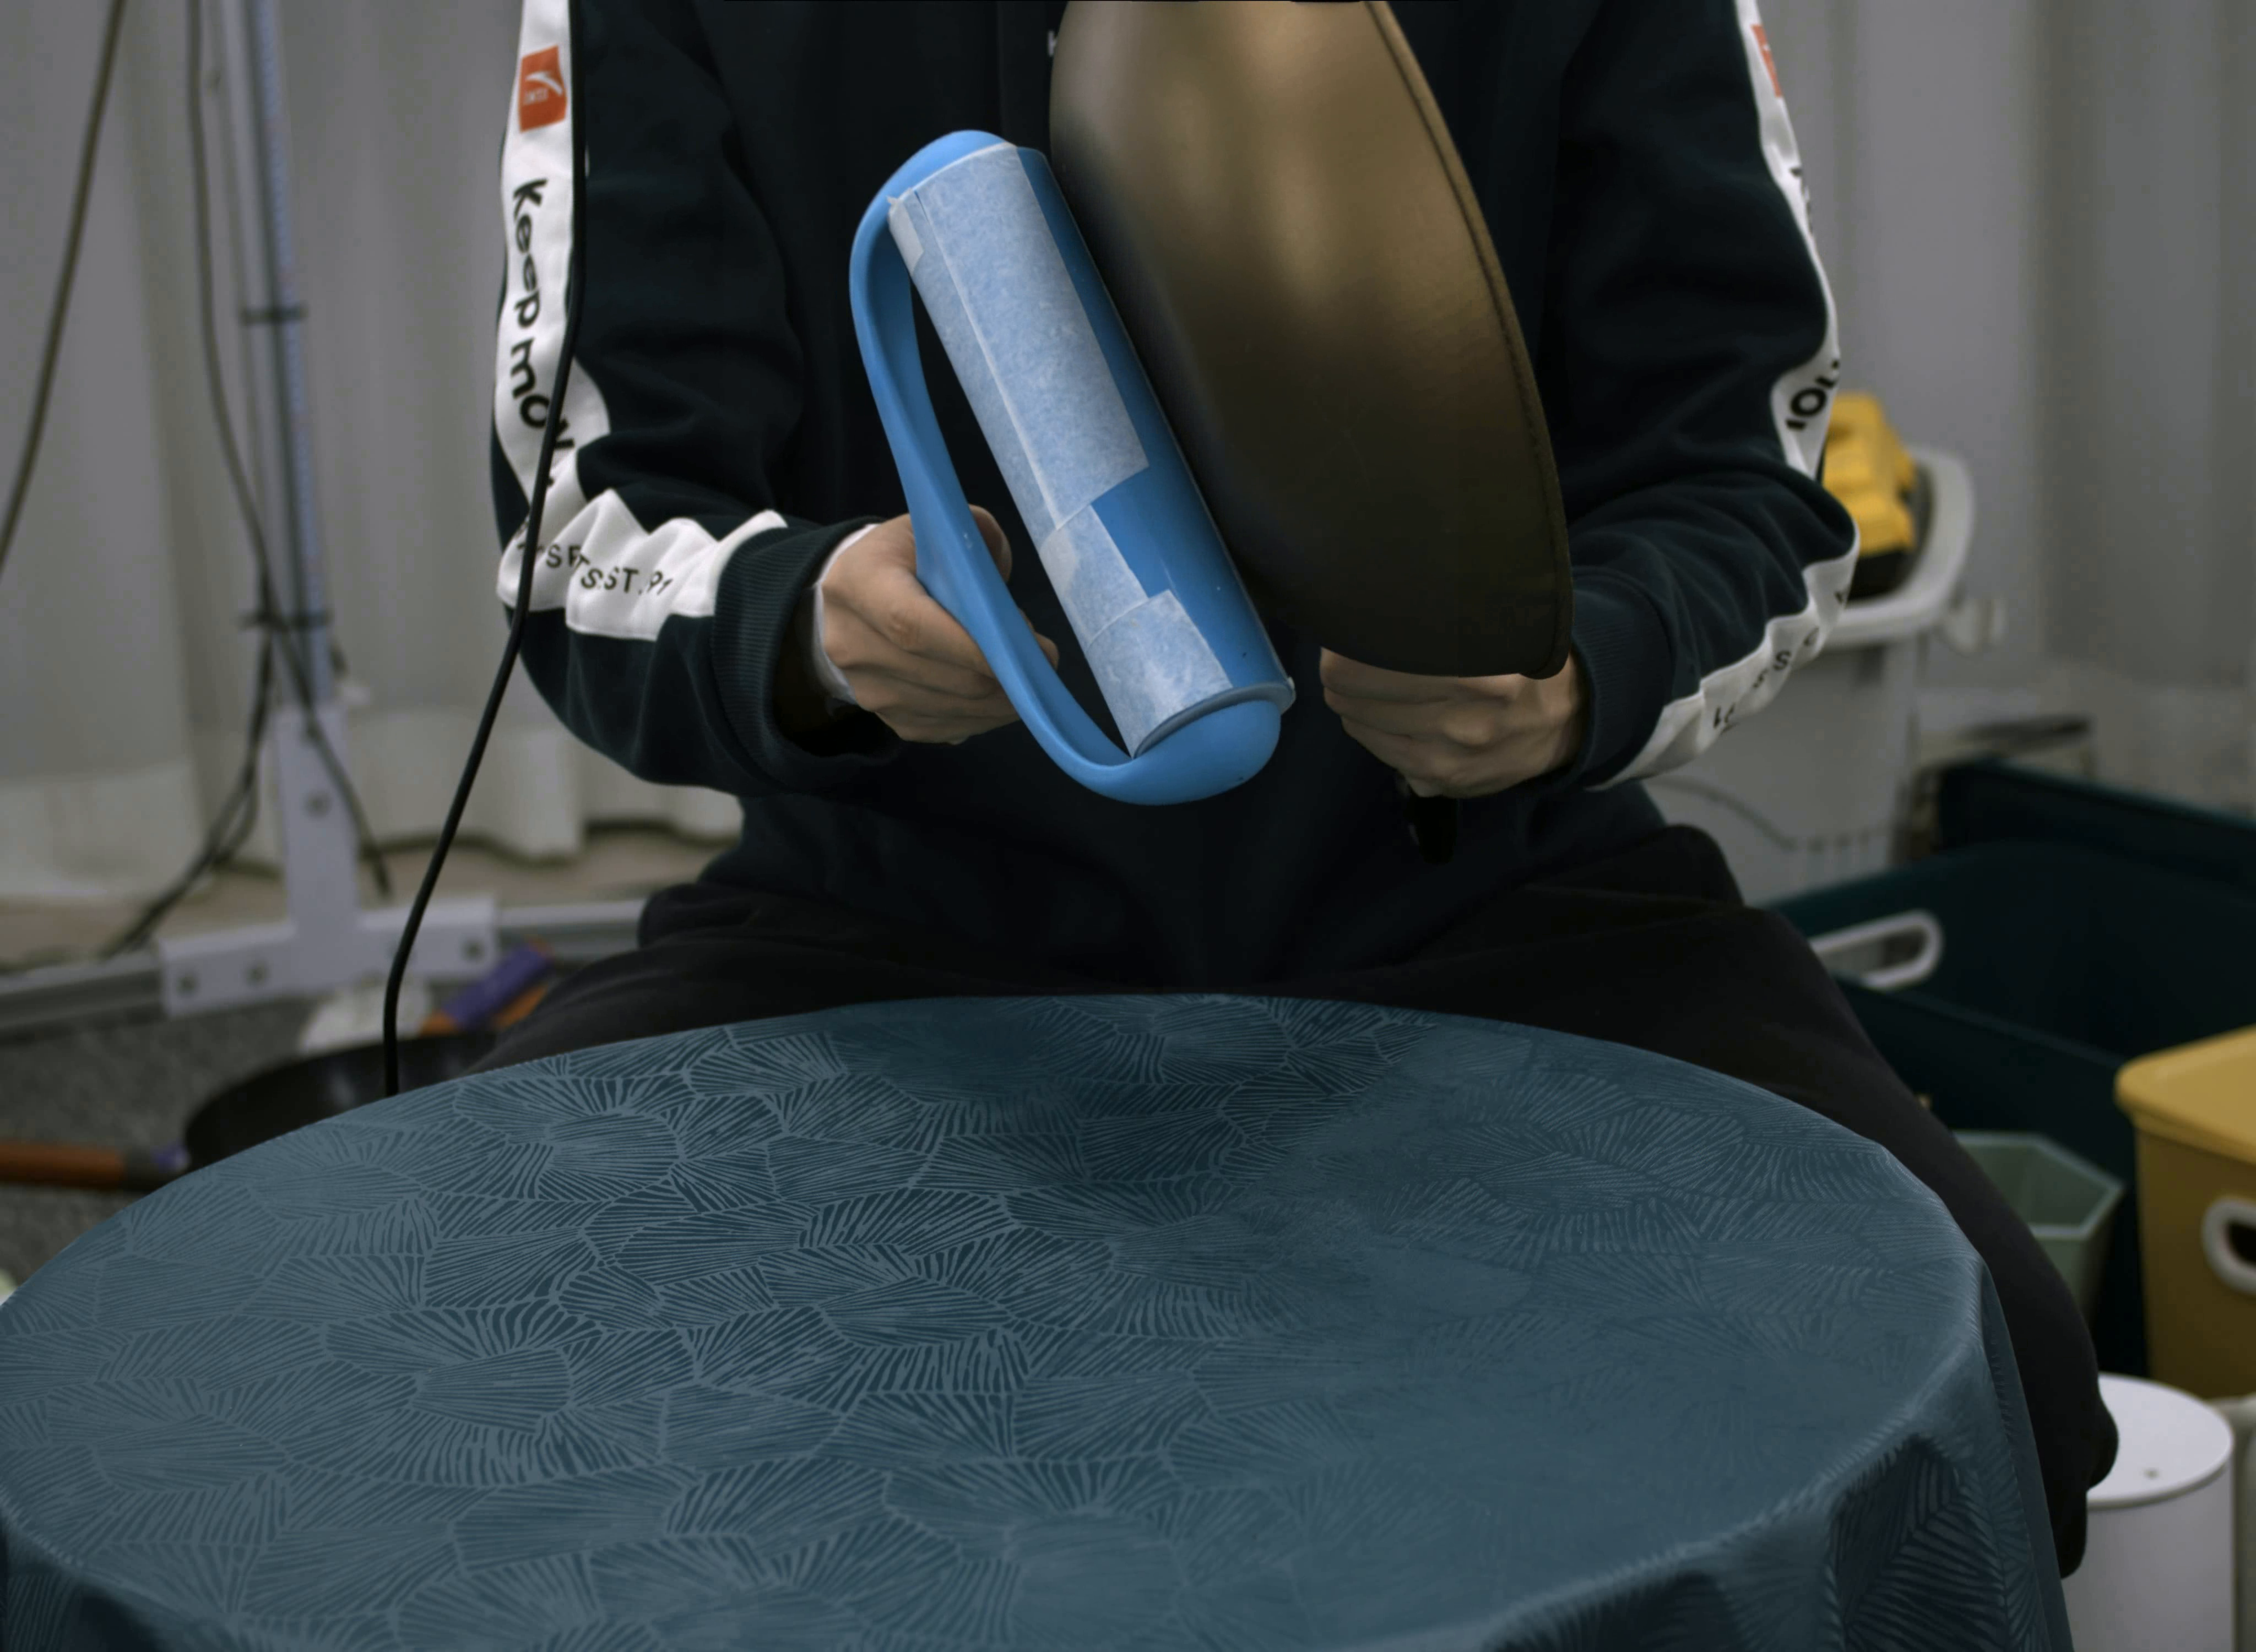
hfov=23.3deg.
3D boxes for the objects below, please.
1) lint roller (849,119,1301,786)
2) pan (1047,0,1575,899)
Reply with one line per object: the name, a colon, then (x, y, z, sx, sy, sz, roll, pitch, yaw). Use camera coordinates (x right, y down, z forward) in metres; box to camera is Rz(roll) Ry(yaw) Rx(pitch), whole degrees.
lint roller: (-0.032, -0.089, 1.724, 0.068, 0.231, 0.179, -17, -23, -30)
pan: (0.051, -0.112, 1.754, 0.086, 0.457, 0.292, -21, 54, -10)
